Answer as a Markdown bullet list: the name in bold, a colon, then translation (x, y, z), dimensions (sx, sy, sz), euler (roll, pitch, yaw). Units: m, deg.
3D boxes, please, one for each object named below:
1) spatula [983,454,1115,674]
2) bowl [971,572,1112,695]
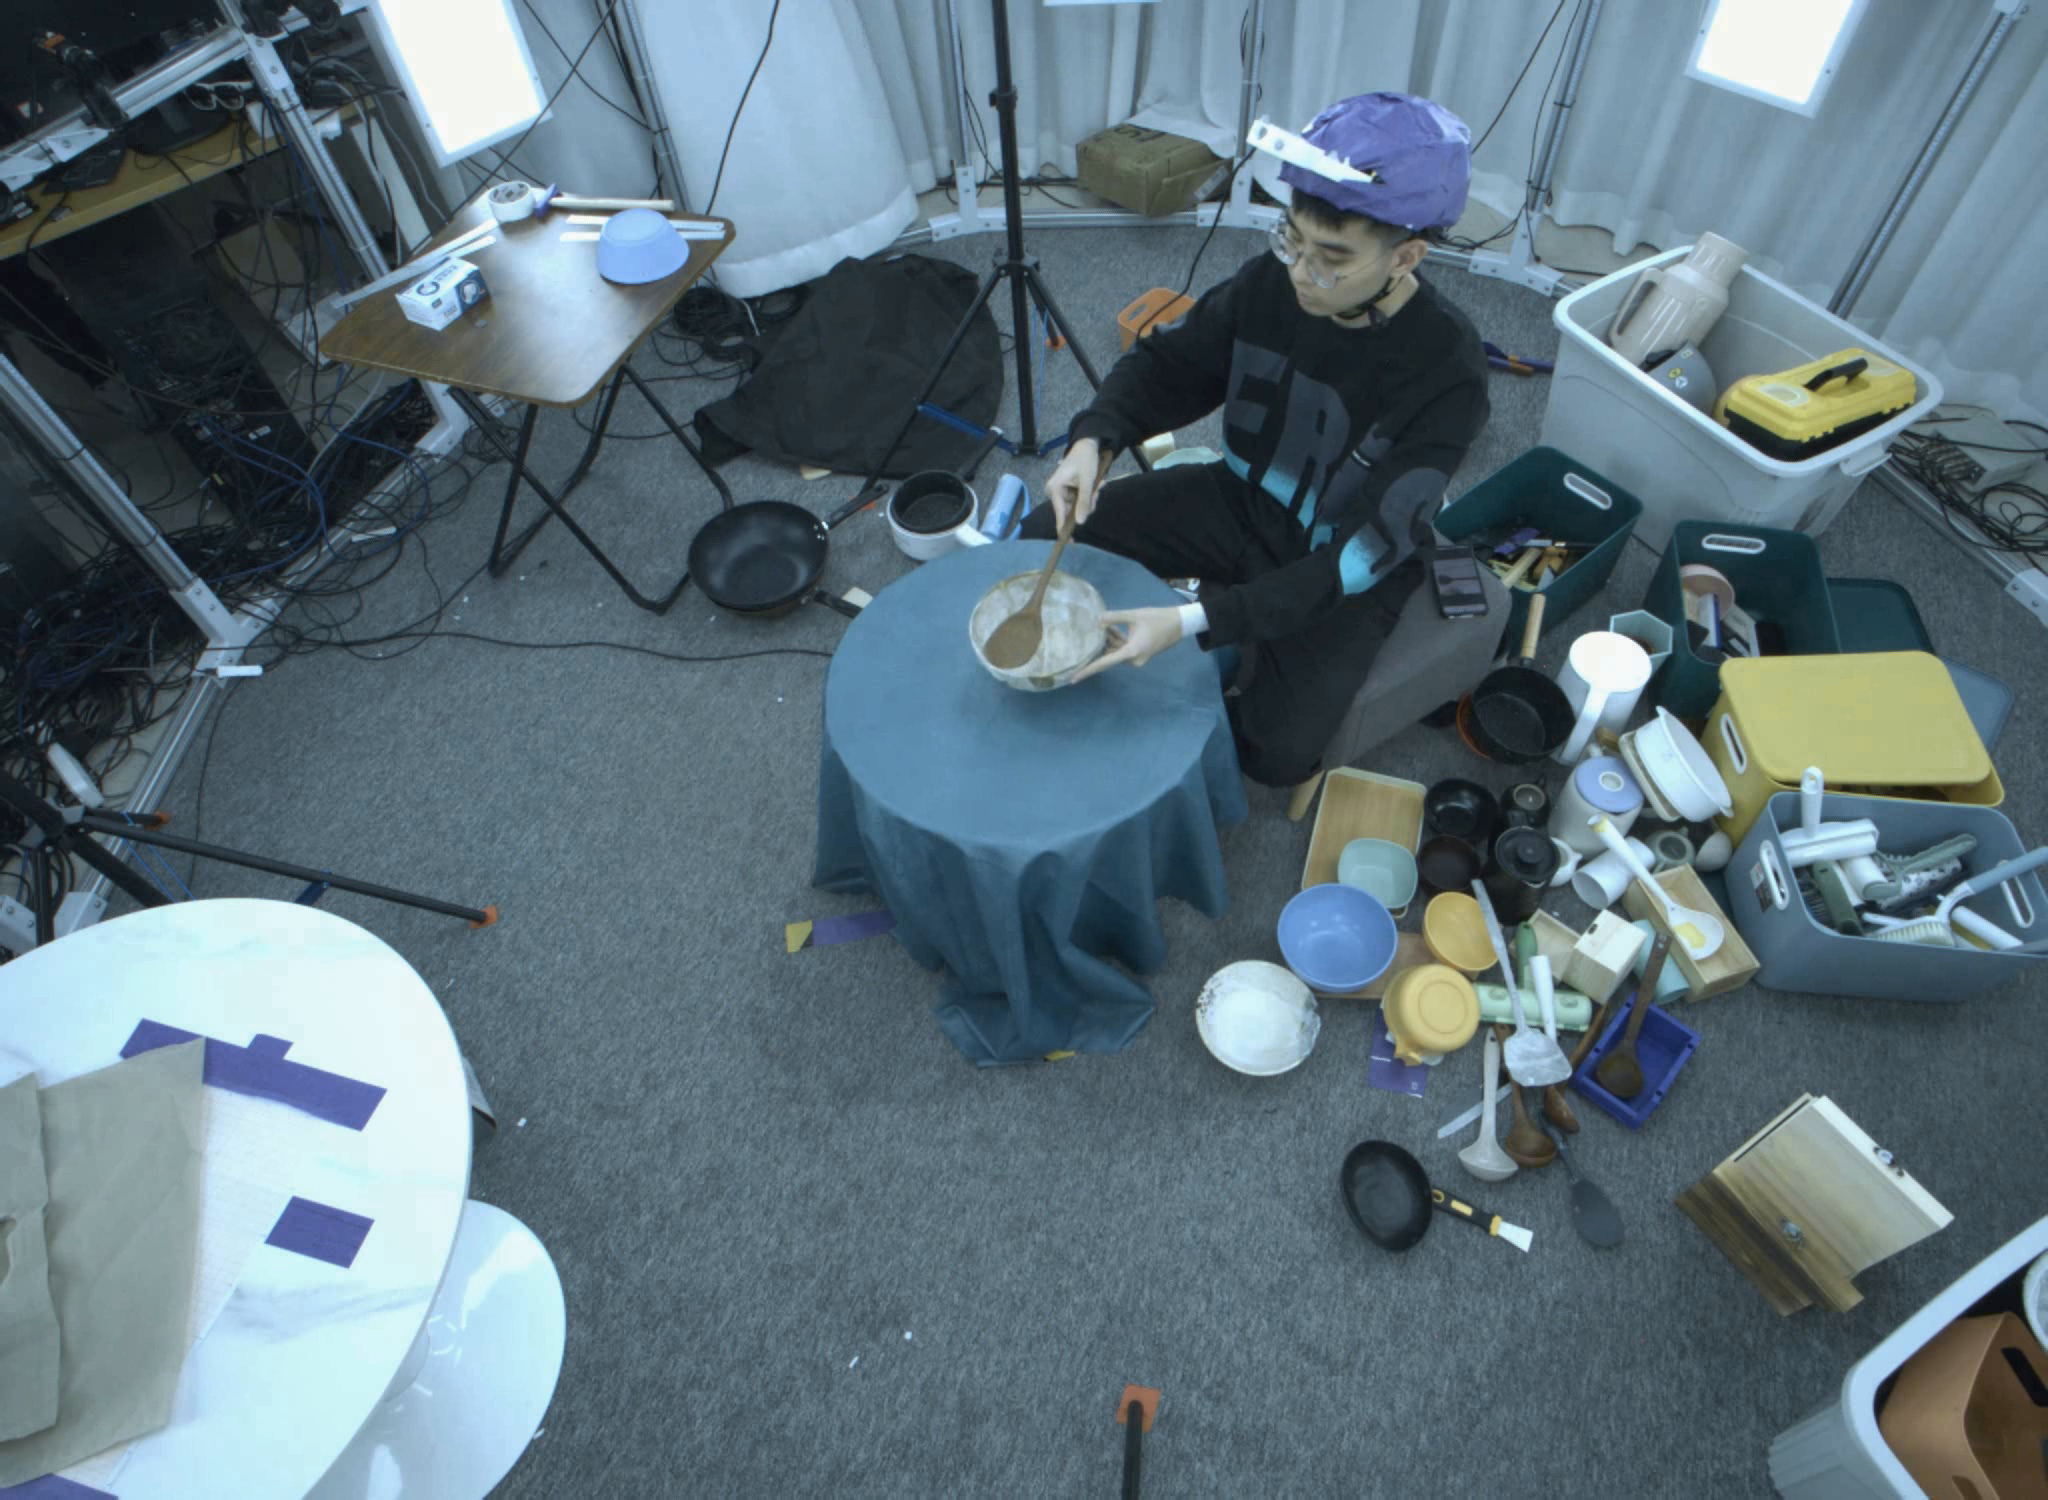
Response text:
- **spatula**: translation (0.048, -0.280, 1.798), dimensions (0.094, 0.016, 0.385), euler (14, 74, 38)
- **bowl**: translation (0.031, -0.156, 1.823), dimensions (0.214, 0.096, 0.212), euler (-2, 56, 4)
